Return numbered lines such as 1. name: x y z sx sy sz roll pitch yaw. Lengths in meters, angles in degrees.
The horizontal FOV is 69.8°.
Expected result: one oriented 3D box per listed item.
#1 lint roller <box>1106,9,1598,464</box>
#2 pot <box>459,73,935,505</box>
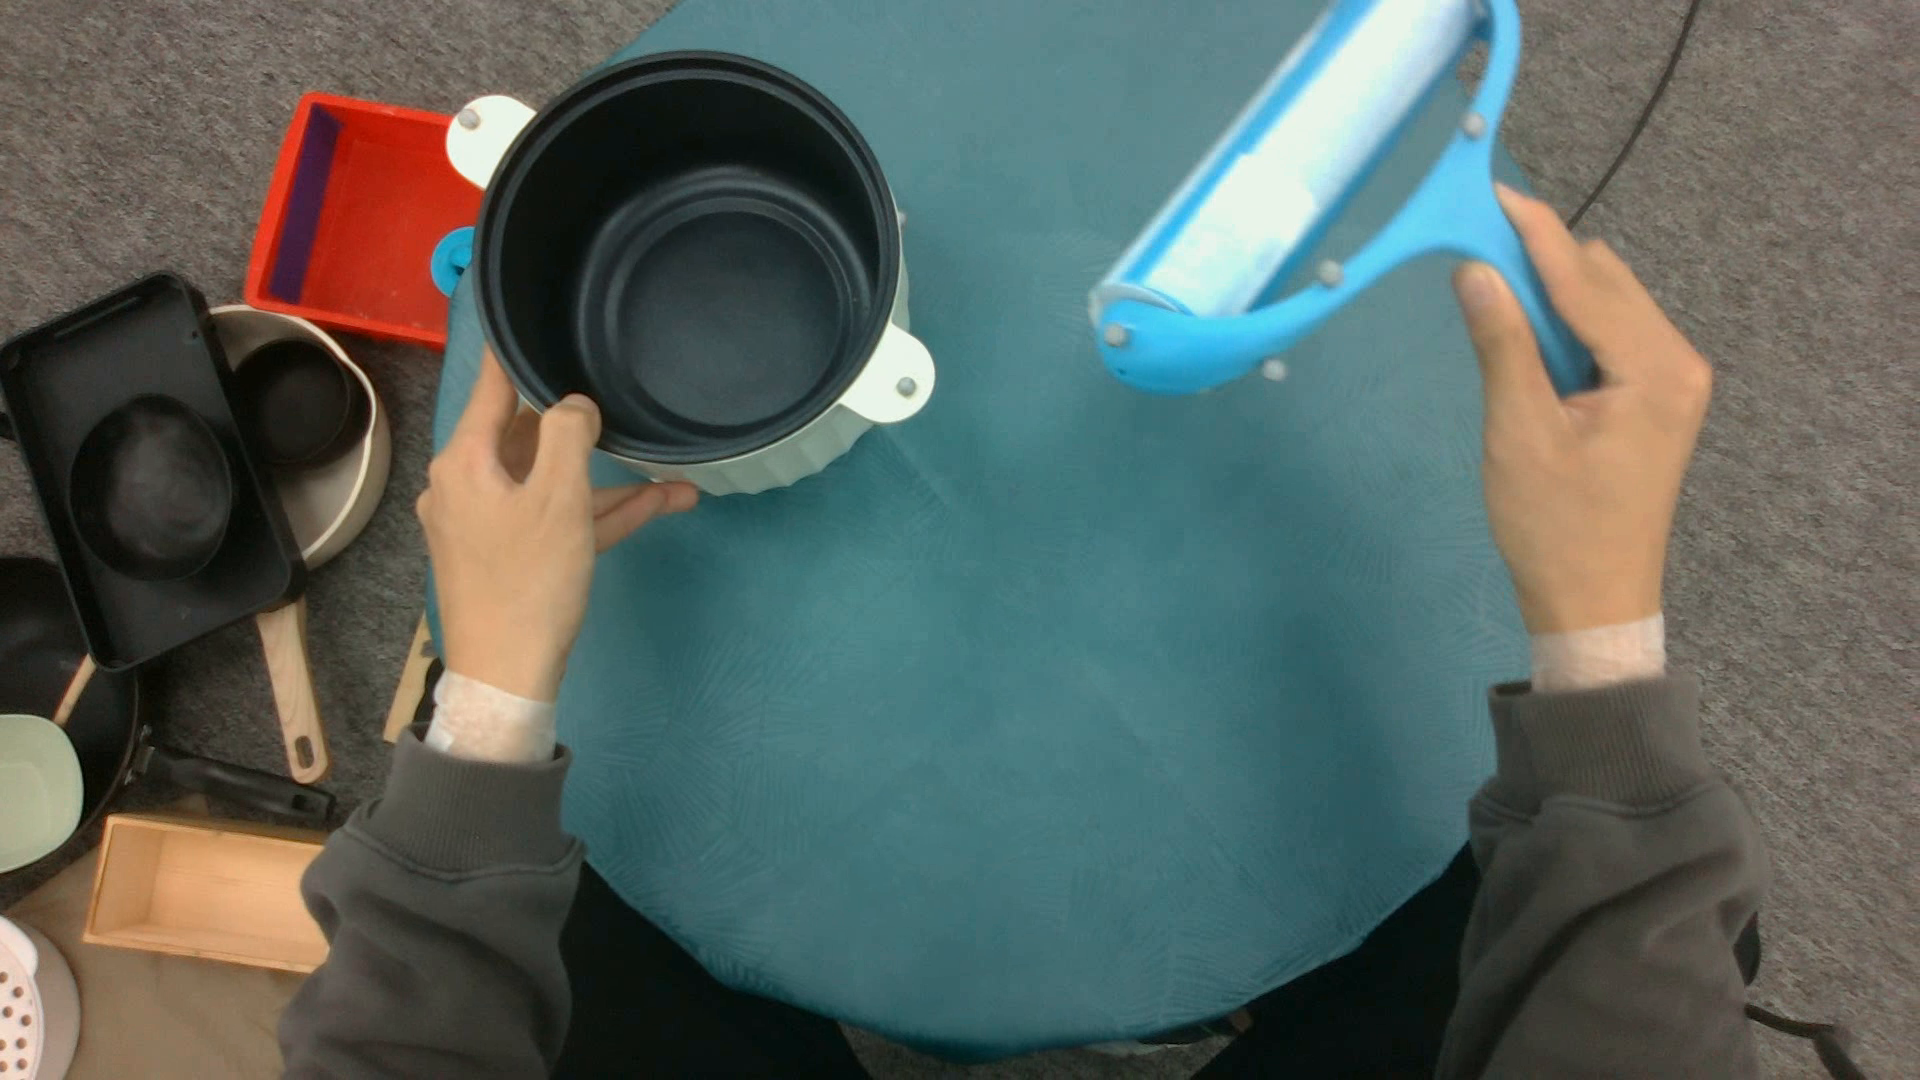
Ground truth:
1. lint roller: 0.184 -0.101 0.541 0.180 0.067 0.230 36 68 10
2. pot: -0.112 -0.115 0.664 0.240 0.142 0.190 30 87 5
